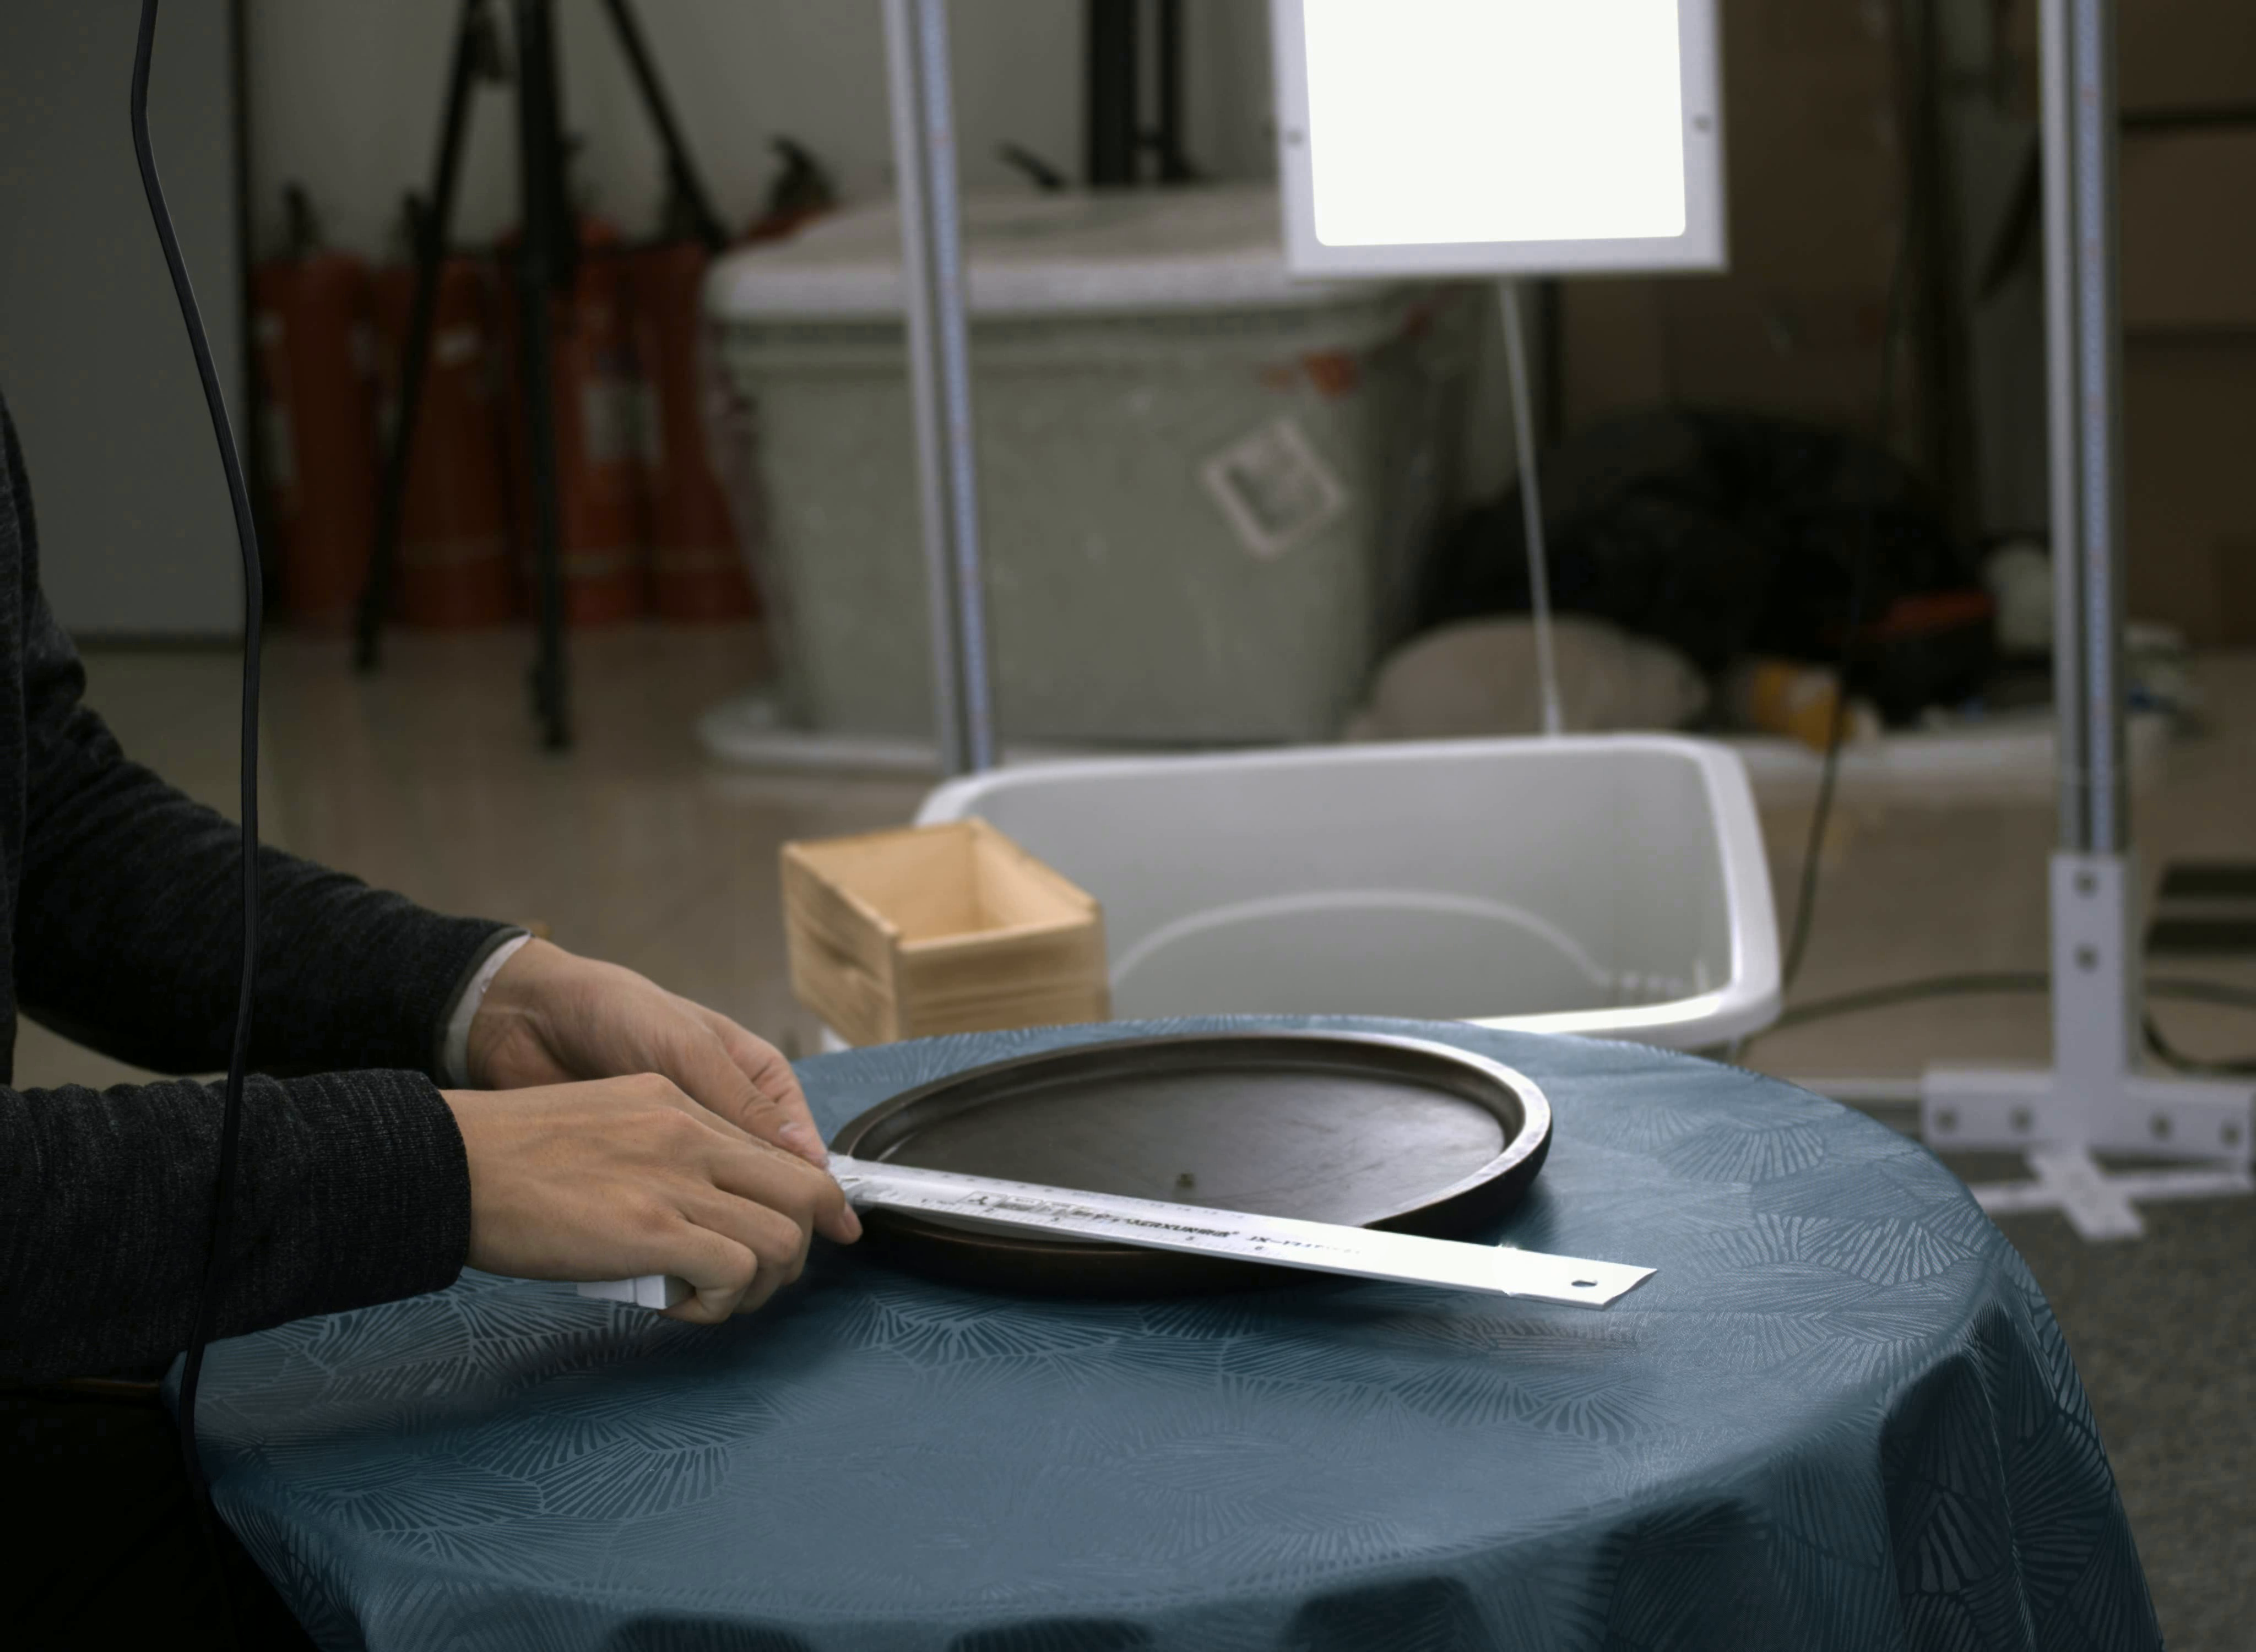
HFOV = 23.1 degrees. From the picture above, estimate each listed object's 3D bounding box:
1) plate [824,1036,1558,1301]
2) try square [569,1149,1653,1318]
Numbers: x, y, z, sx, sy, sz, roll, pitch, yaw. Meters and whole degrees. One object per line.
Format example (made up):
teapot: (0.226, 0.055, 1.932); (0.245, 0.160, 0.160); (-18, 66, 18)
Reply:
plate: (0.022, 0.115, 1.889); (0.254, 0.029, 0.254); (-4, 14, 0)
try square: (-0.008, 0.142, 1.734); (0.319, 0.016, 0.149); (5, 16, 32)
